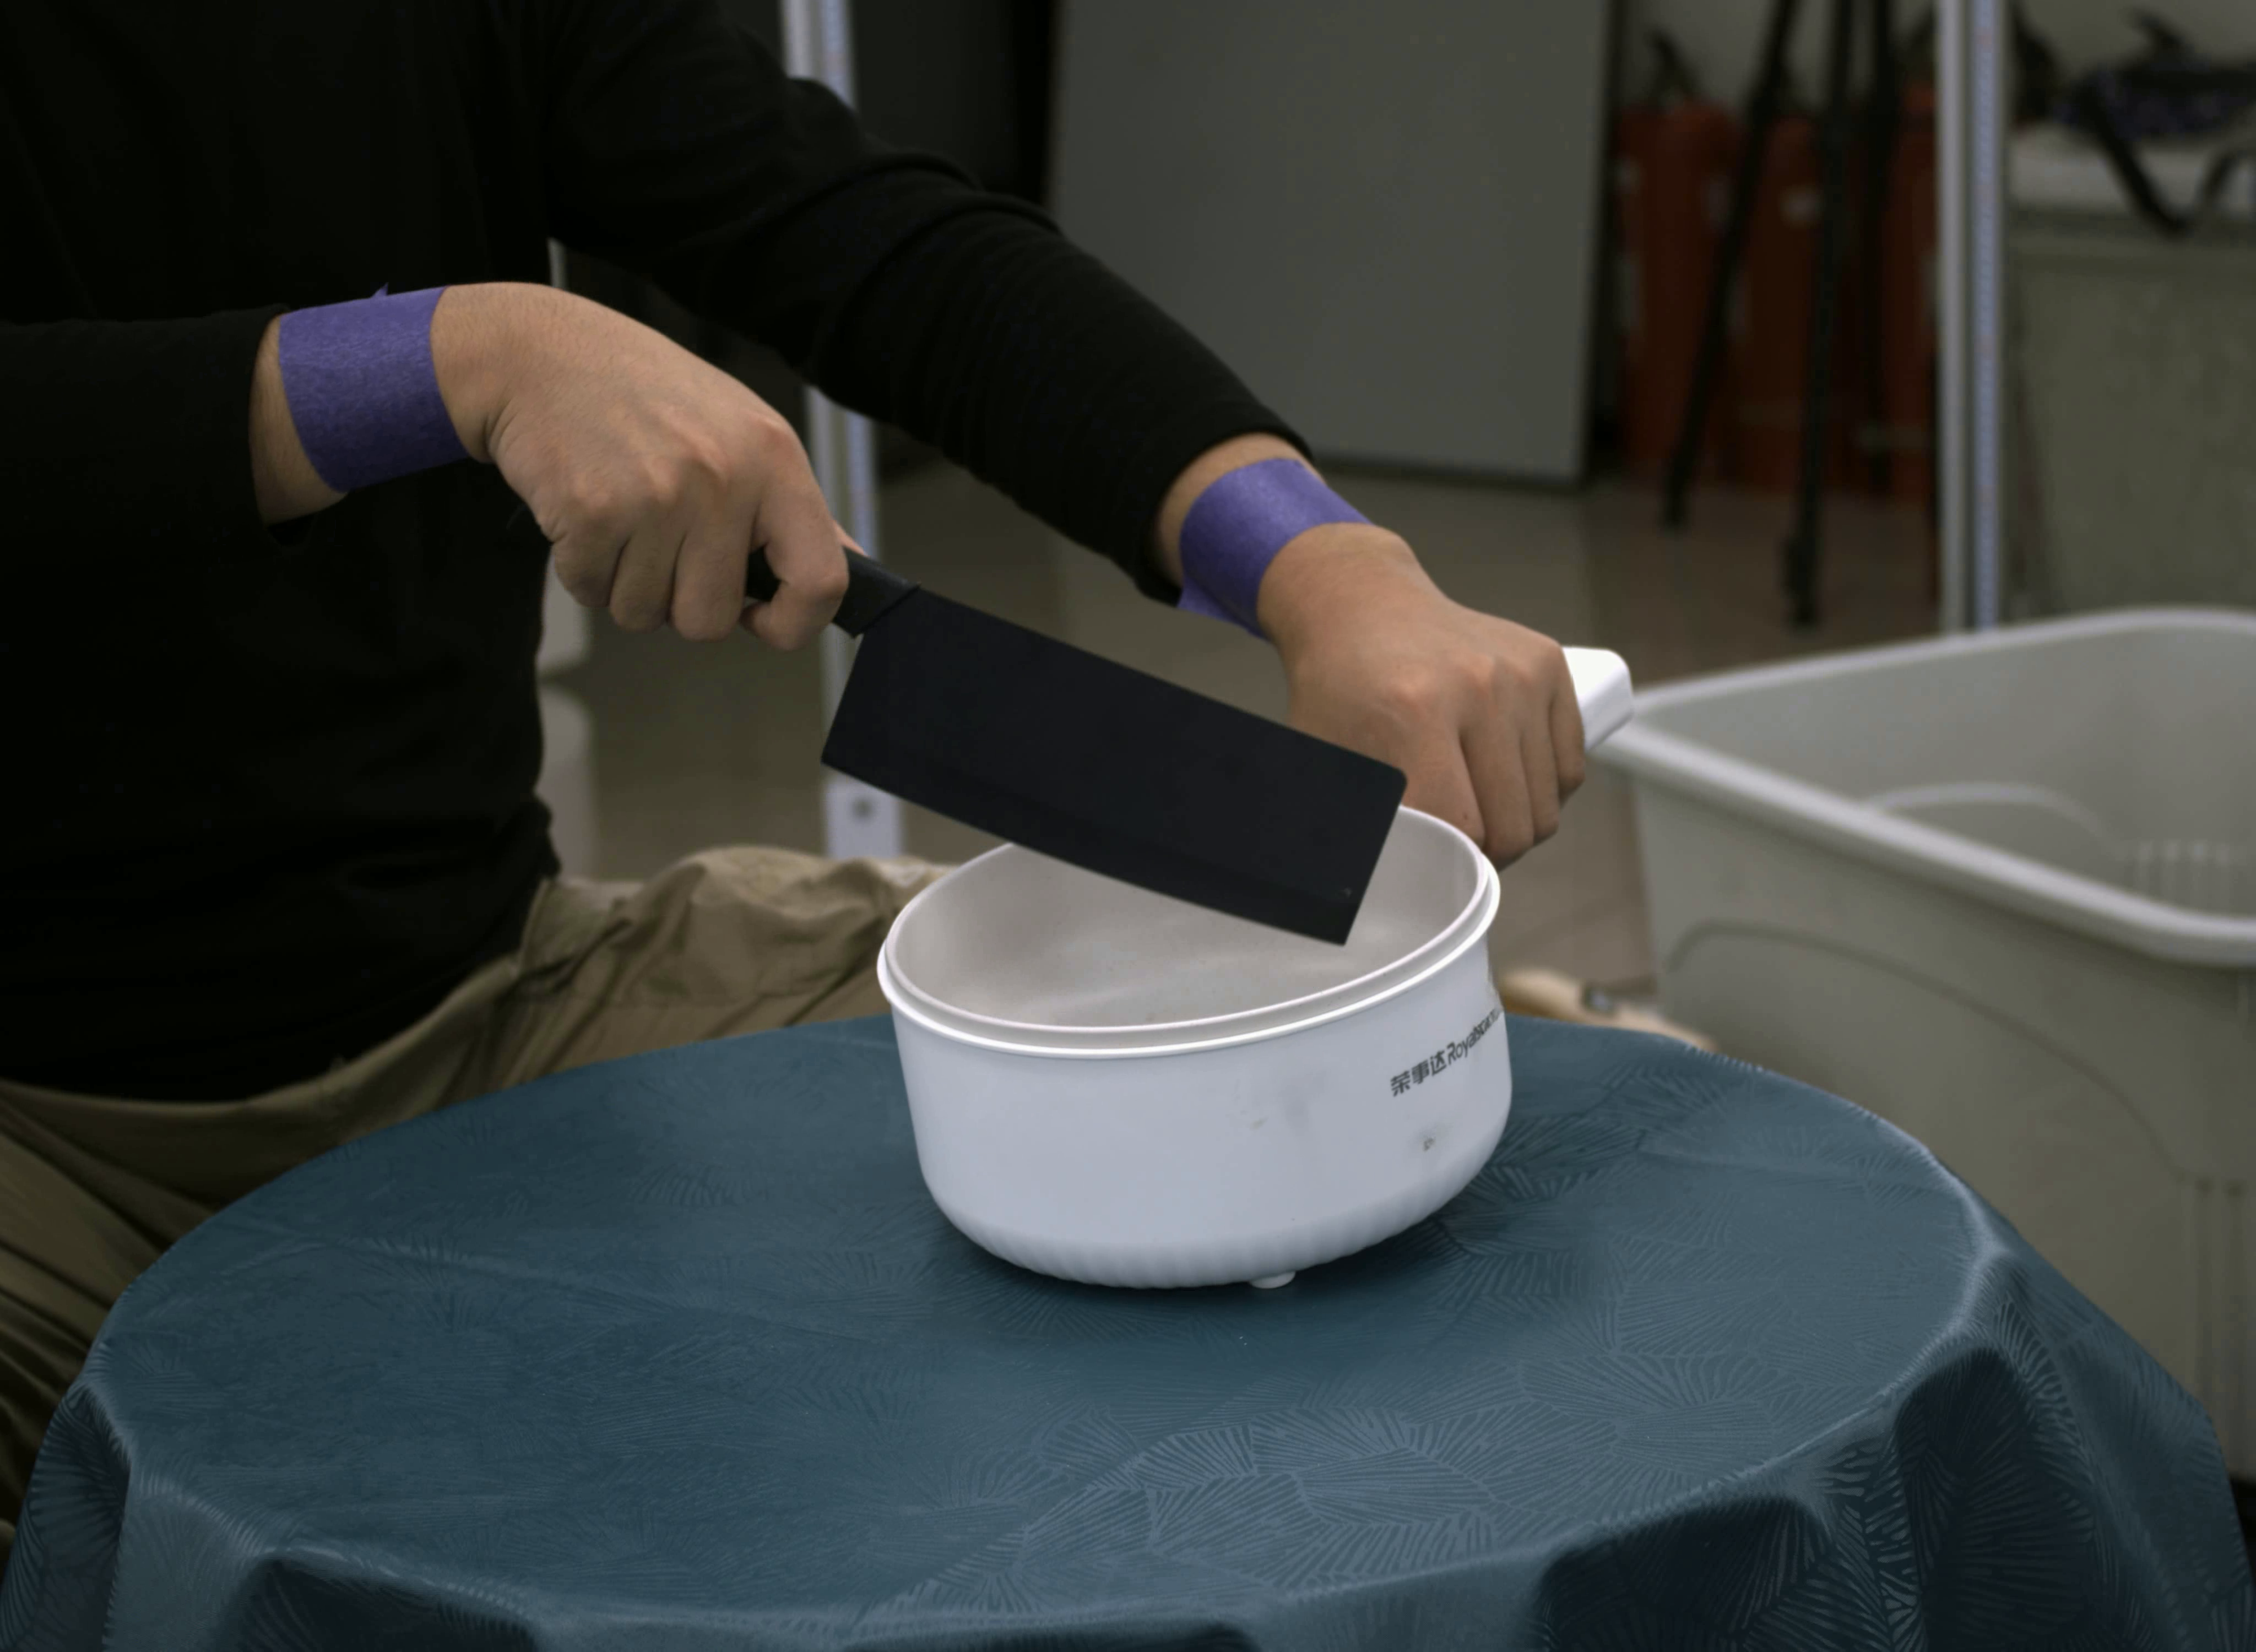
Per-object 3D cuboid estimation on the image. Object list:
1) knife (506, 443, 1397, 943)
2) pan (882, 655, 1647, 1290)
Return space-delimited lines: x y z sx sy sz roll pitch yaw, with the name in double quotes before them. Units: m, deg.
"knife" -0.060 -0.046 1.721 0.301 0.081 0.021 26 6 6
"pan" 0.069 0.046 1.784 0.202 0.103 0.349 5 23 36
